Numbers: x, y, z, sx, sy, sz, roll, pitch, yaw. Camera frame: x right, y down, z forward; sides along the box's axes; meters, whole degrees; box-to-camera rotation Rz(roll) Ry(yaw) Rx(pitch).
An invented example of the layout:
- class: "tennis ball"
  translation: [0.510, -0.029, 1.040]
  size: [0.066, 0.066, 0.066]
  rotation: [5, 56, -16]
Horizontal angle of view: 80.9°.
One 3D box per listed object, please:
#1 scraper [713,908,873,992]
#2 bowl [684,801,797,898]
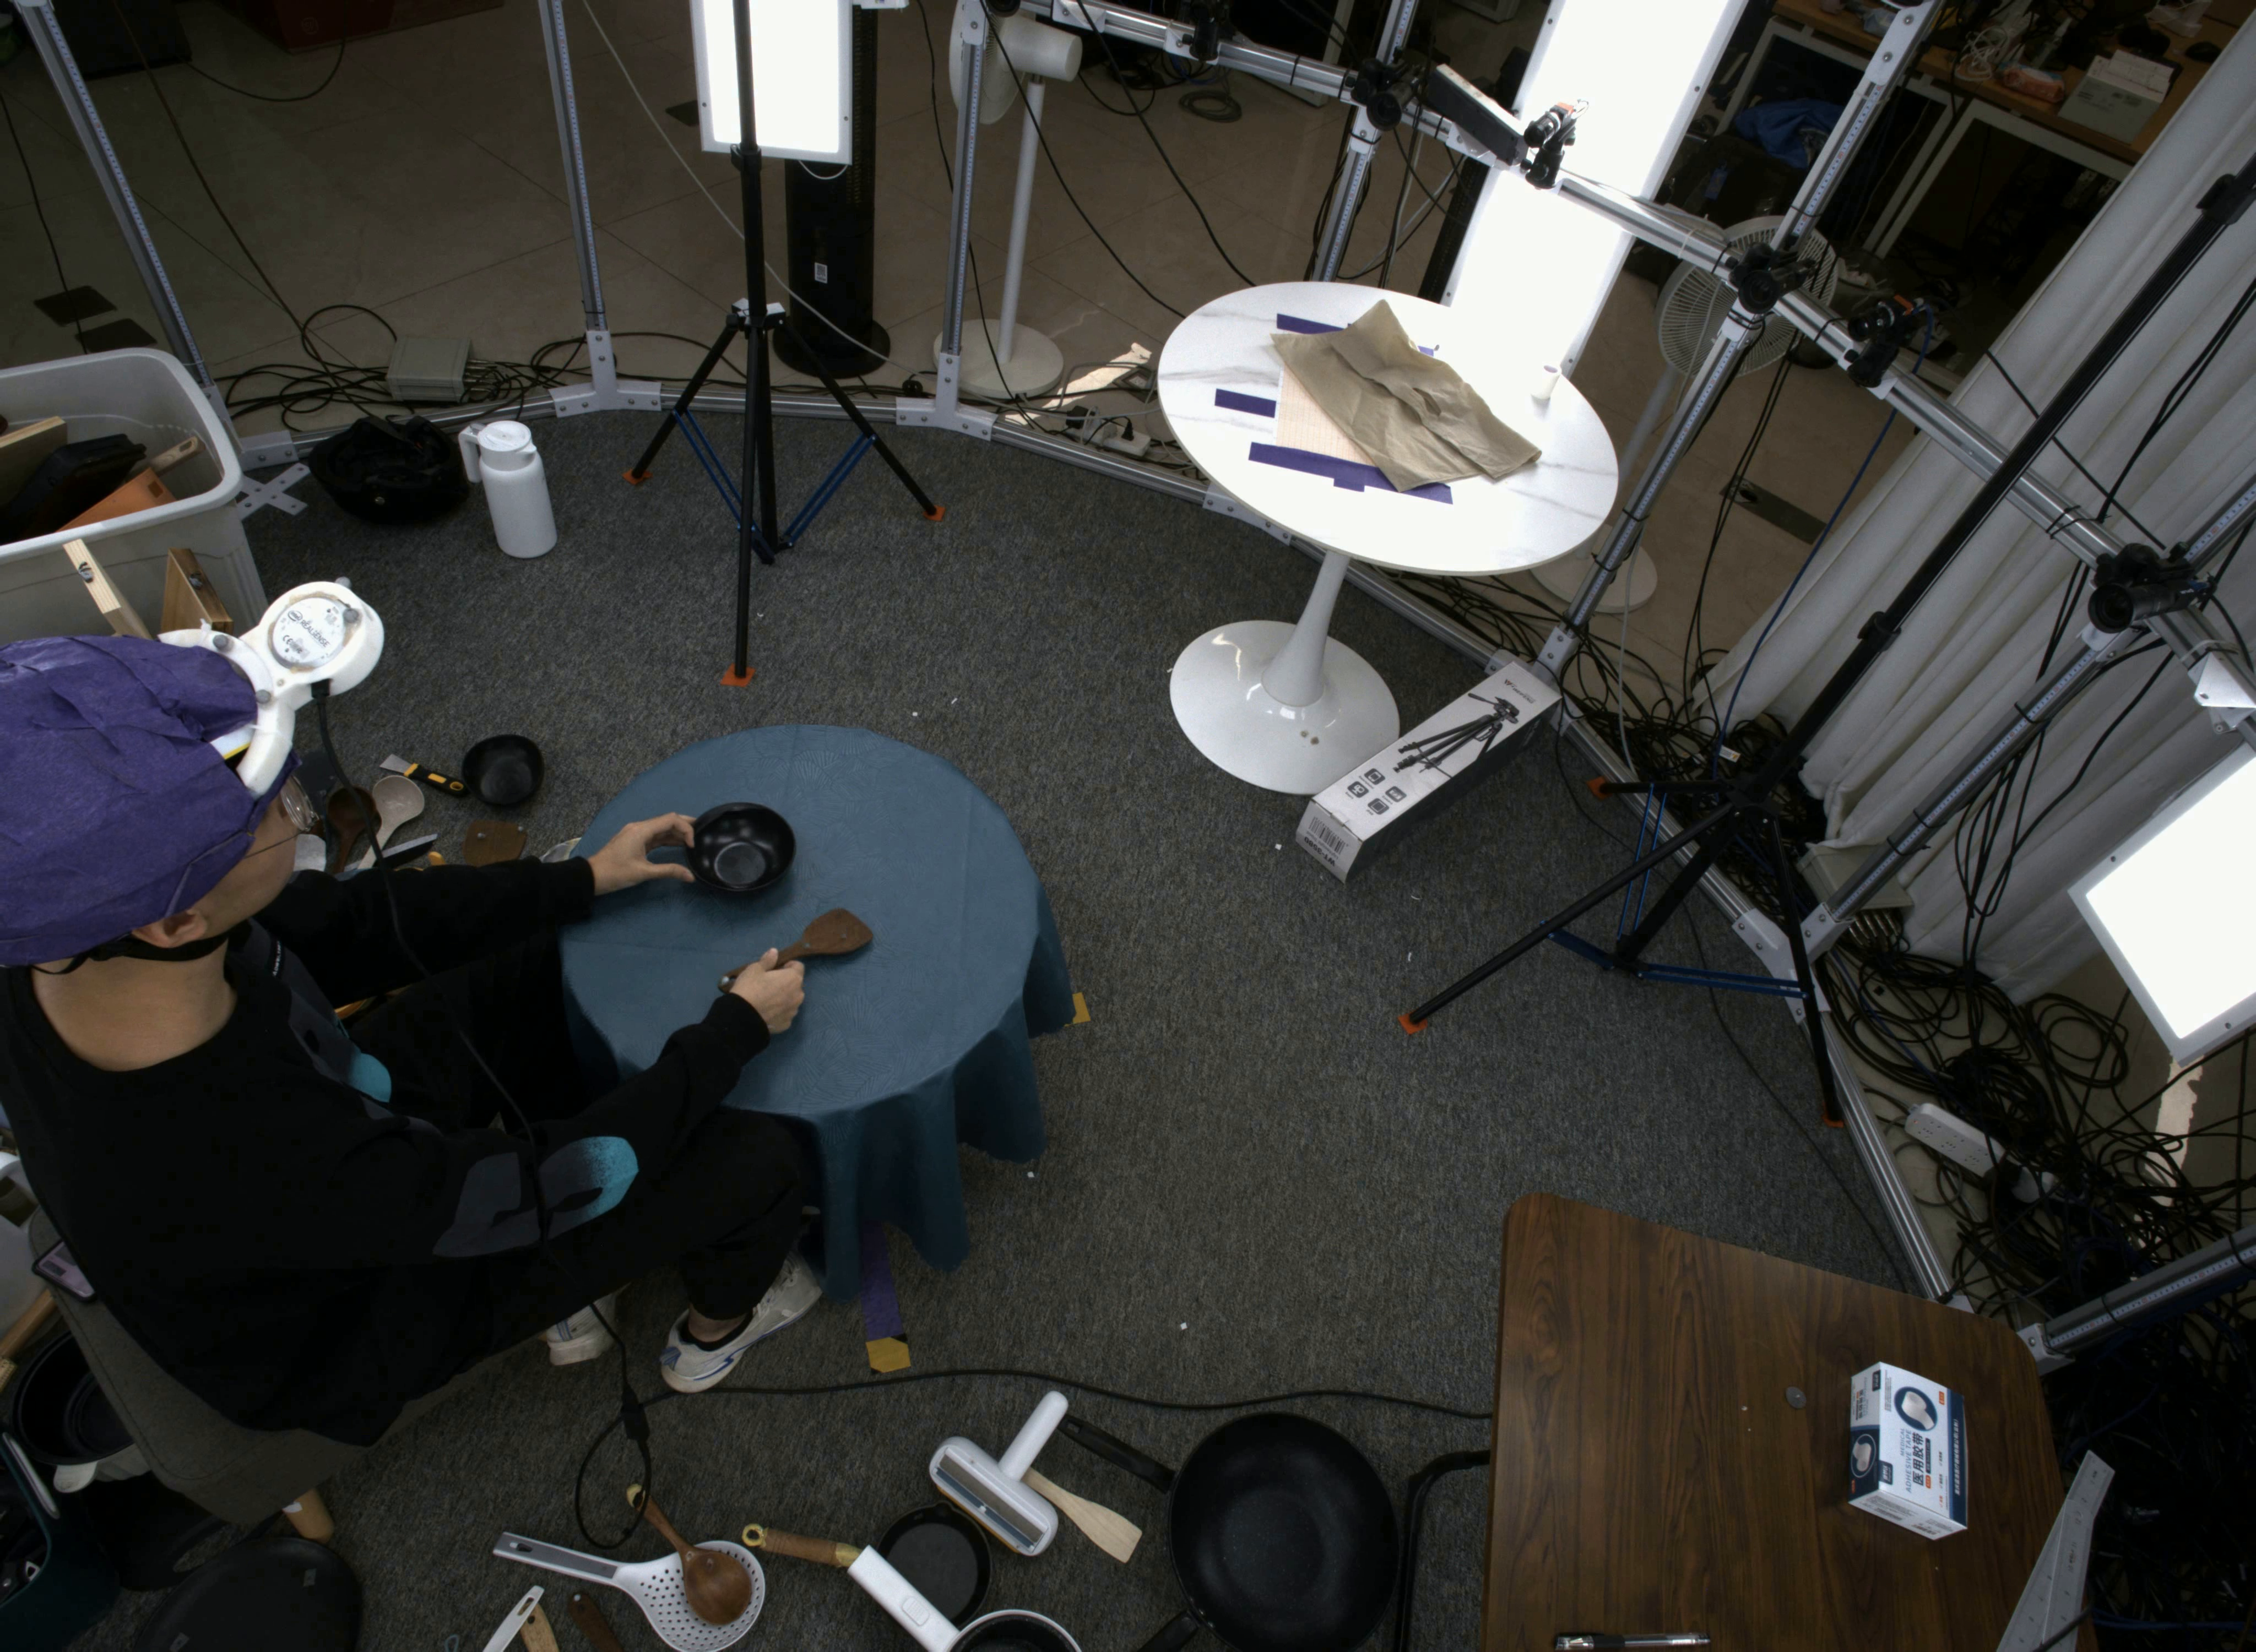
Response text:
- class: "scraper"
  translation: [-0.411, 0.153, 1.580]
  size: [0.073, 0.011, 0.213]
  rotation: [35, 38, 26]
- class: "bowl"
  translation: [-0.494, 0.037, 1.651]
  size: [0.140, 0.050, 0.138]
  rotation: [10, 55, -12]
